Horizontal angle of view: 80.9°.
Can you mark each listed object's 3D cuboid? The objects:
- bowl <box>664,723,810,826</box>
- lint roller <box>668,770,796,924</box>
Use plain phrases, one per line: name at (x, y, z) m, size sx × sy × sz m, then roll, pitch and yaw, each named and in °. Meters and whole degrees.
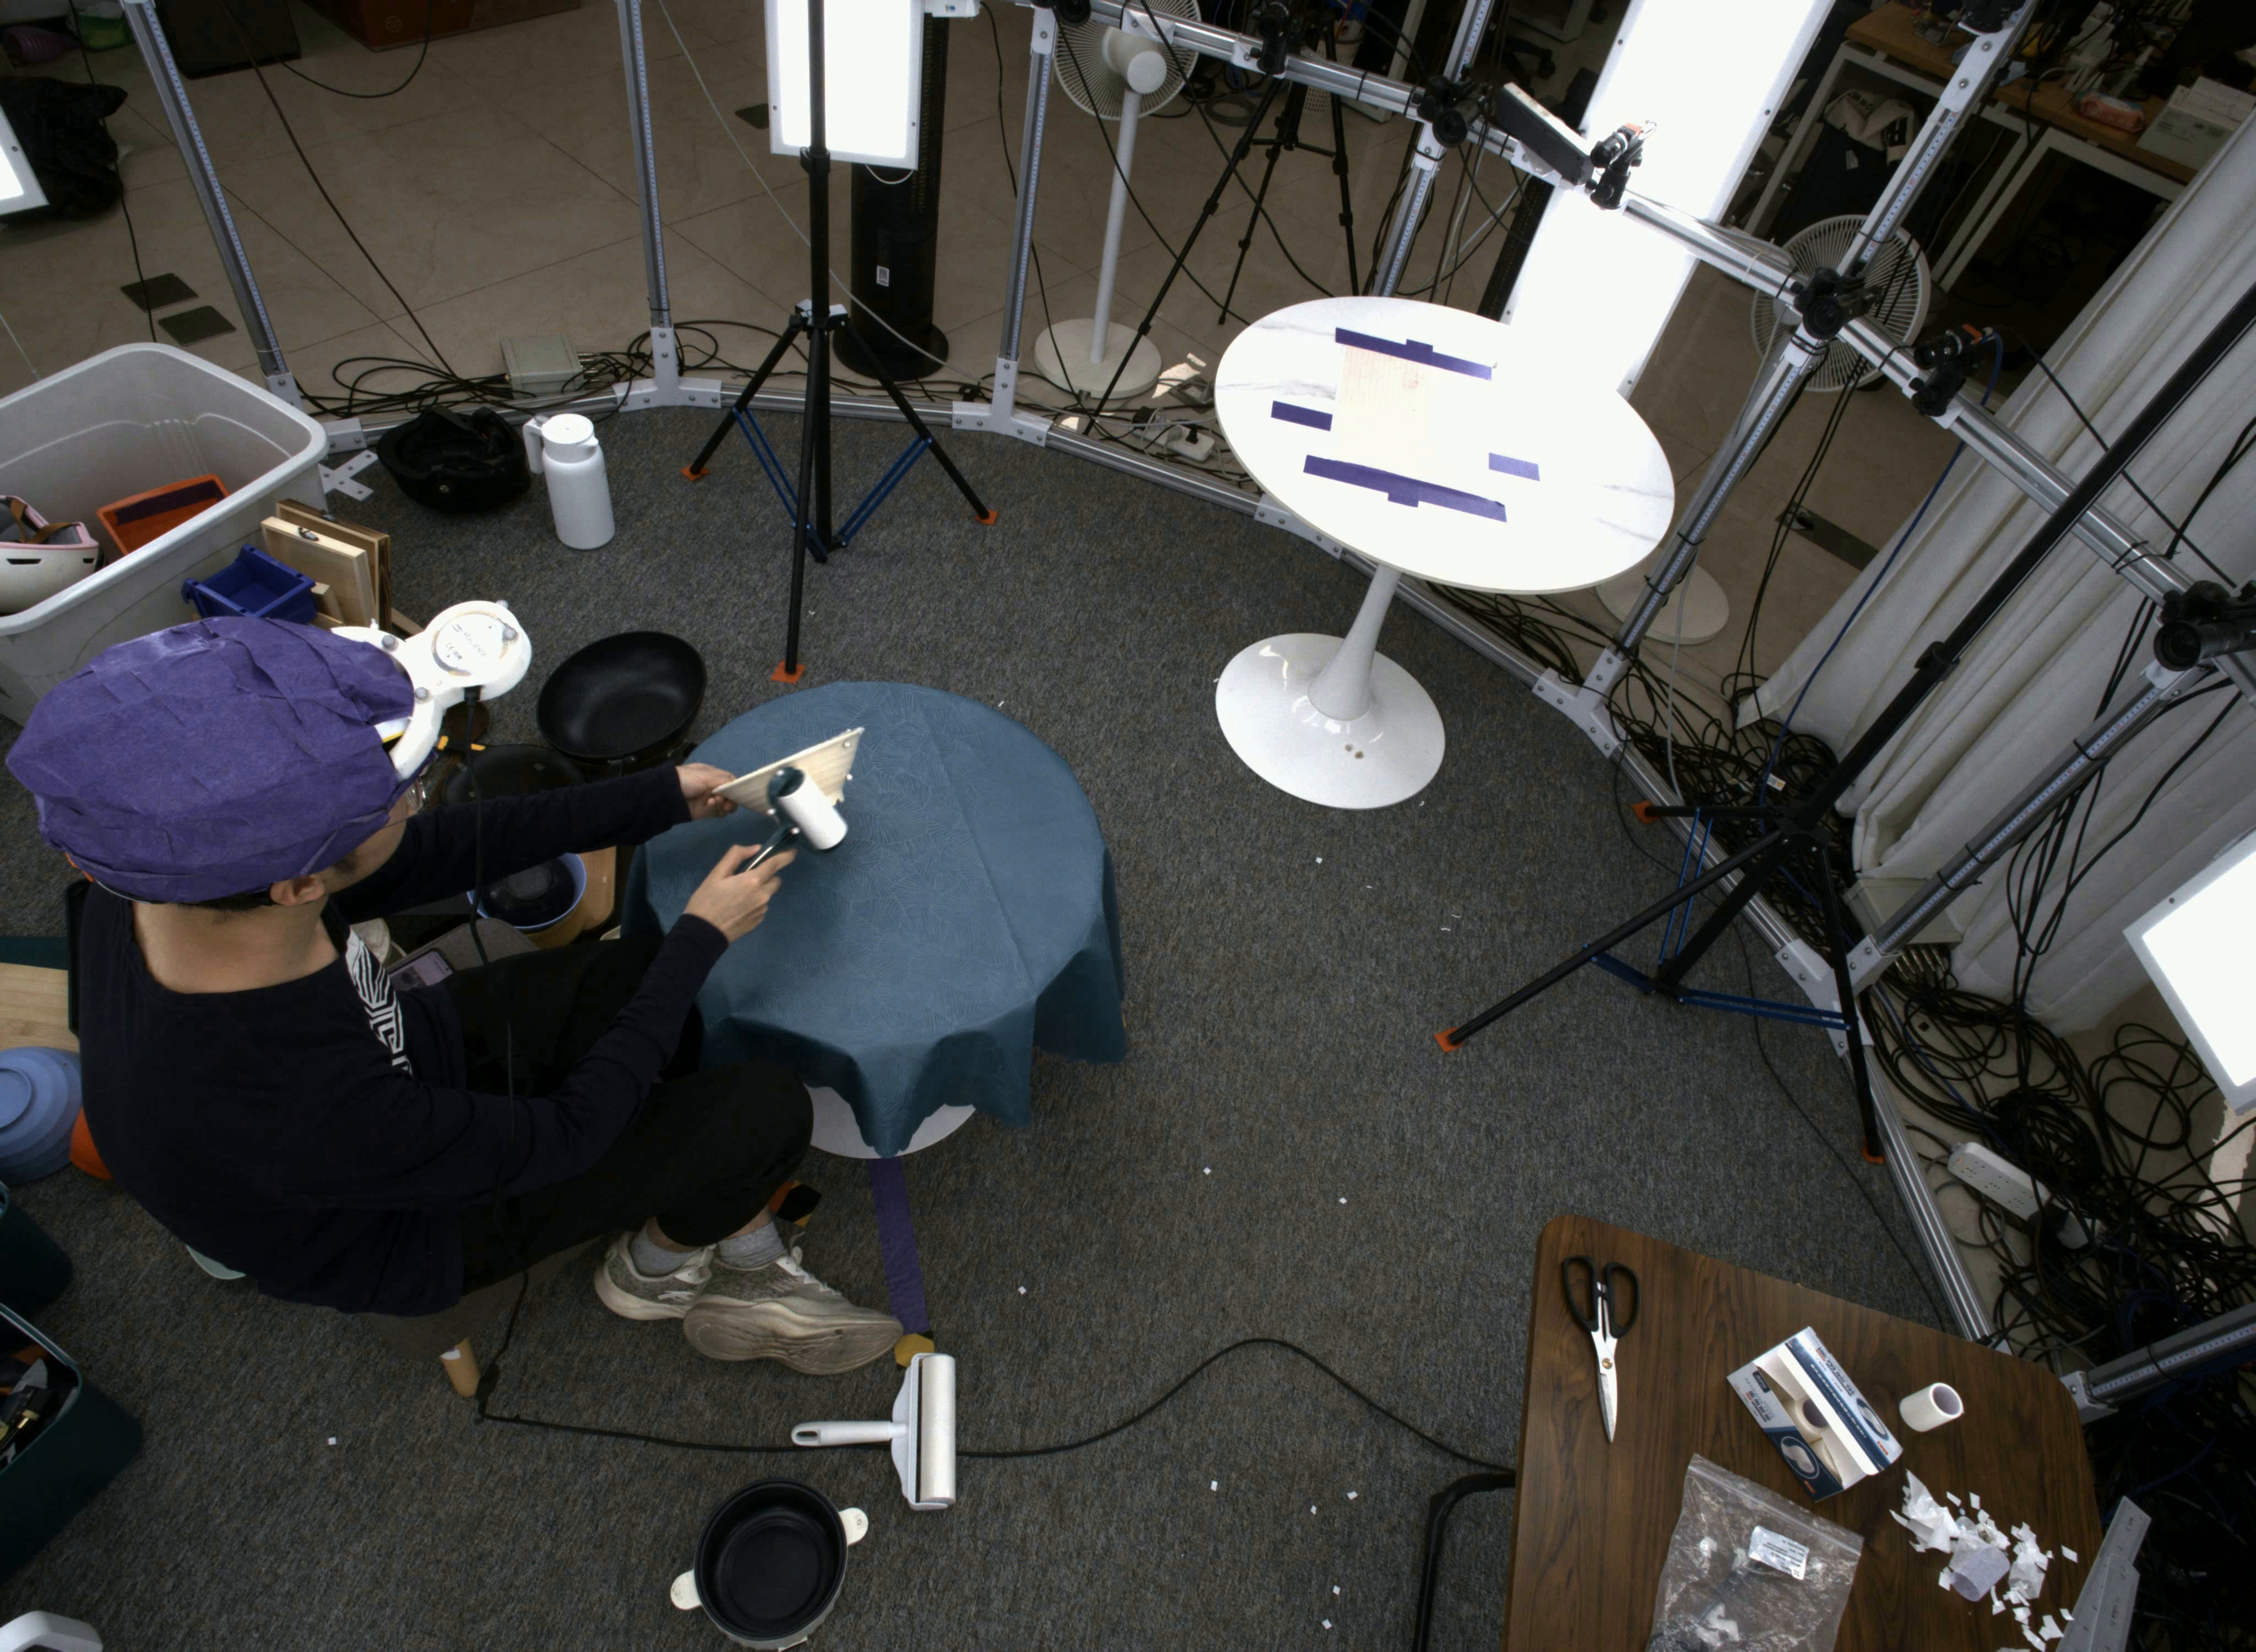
bowl at (-0.467, -0.045, 1.605) m, size 0.204 × 0.199 × 0.079 m, roll -35°, pitch 101°, yaw -33°
lint roller at (-0.471, 0.039, 1.508) m, size 0.046 × 0.139 × 0.179 m, roll 12°, pitch 61°, yaw 31°
